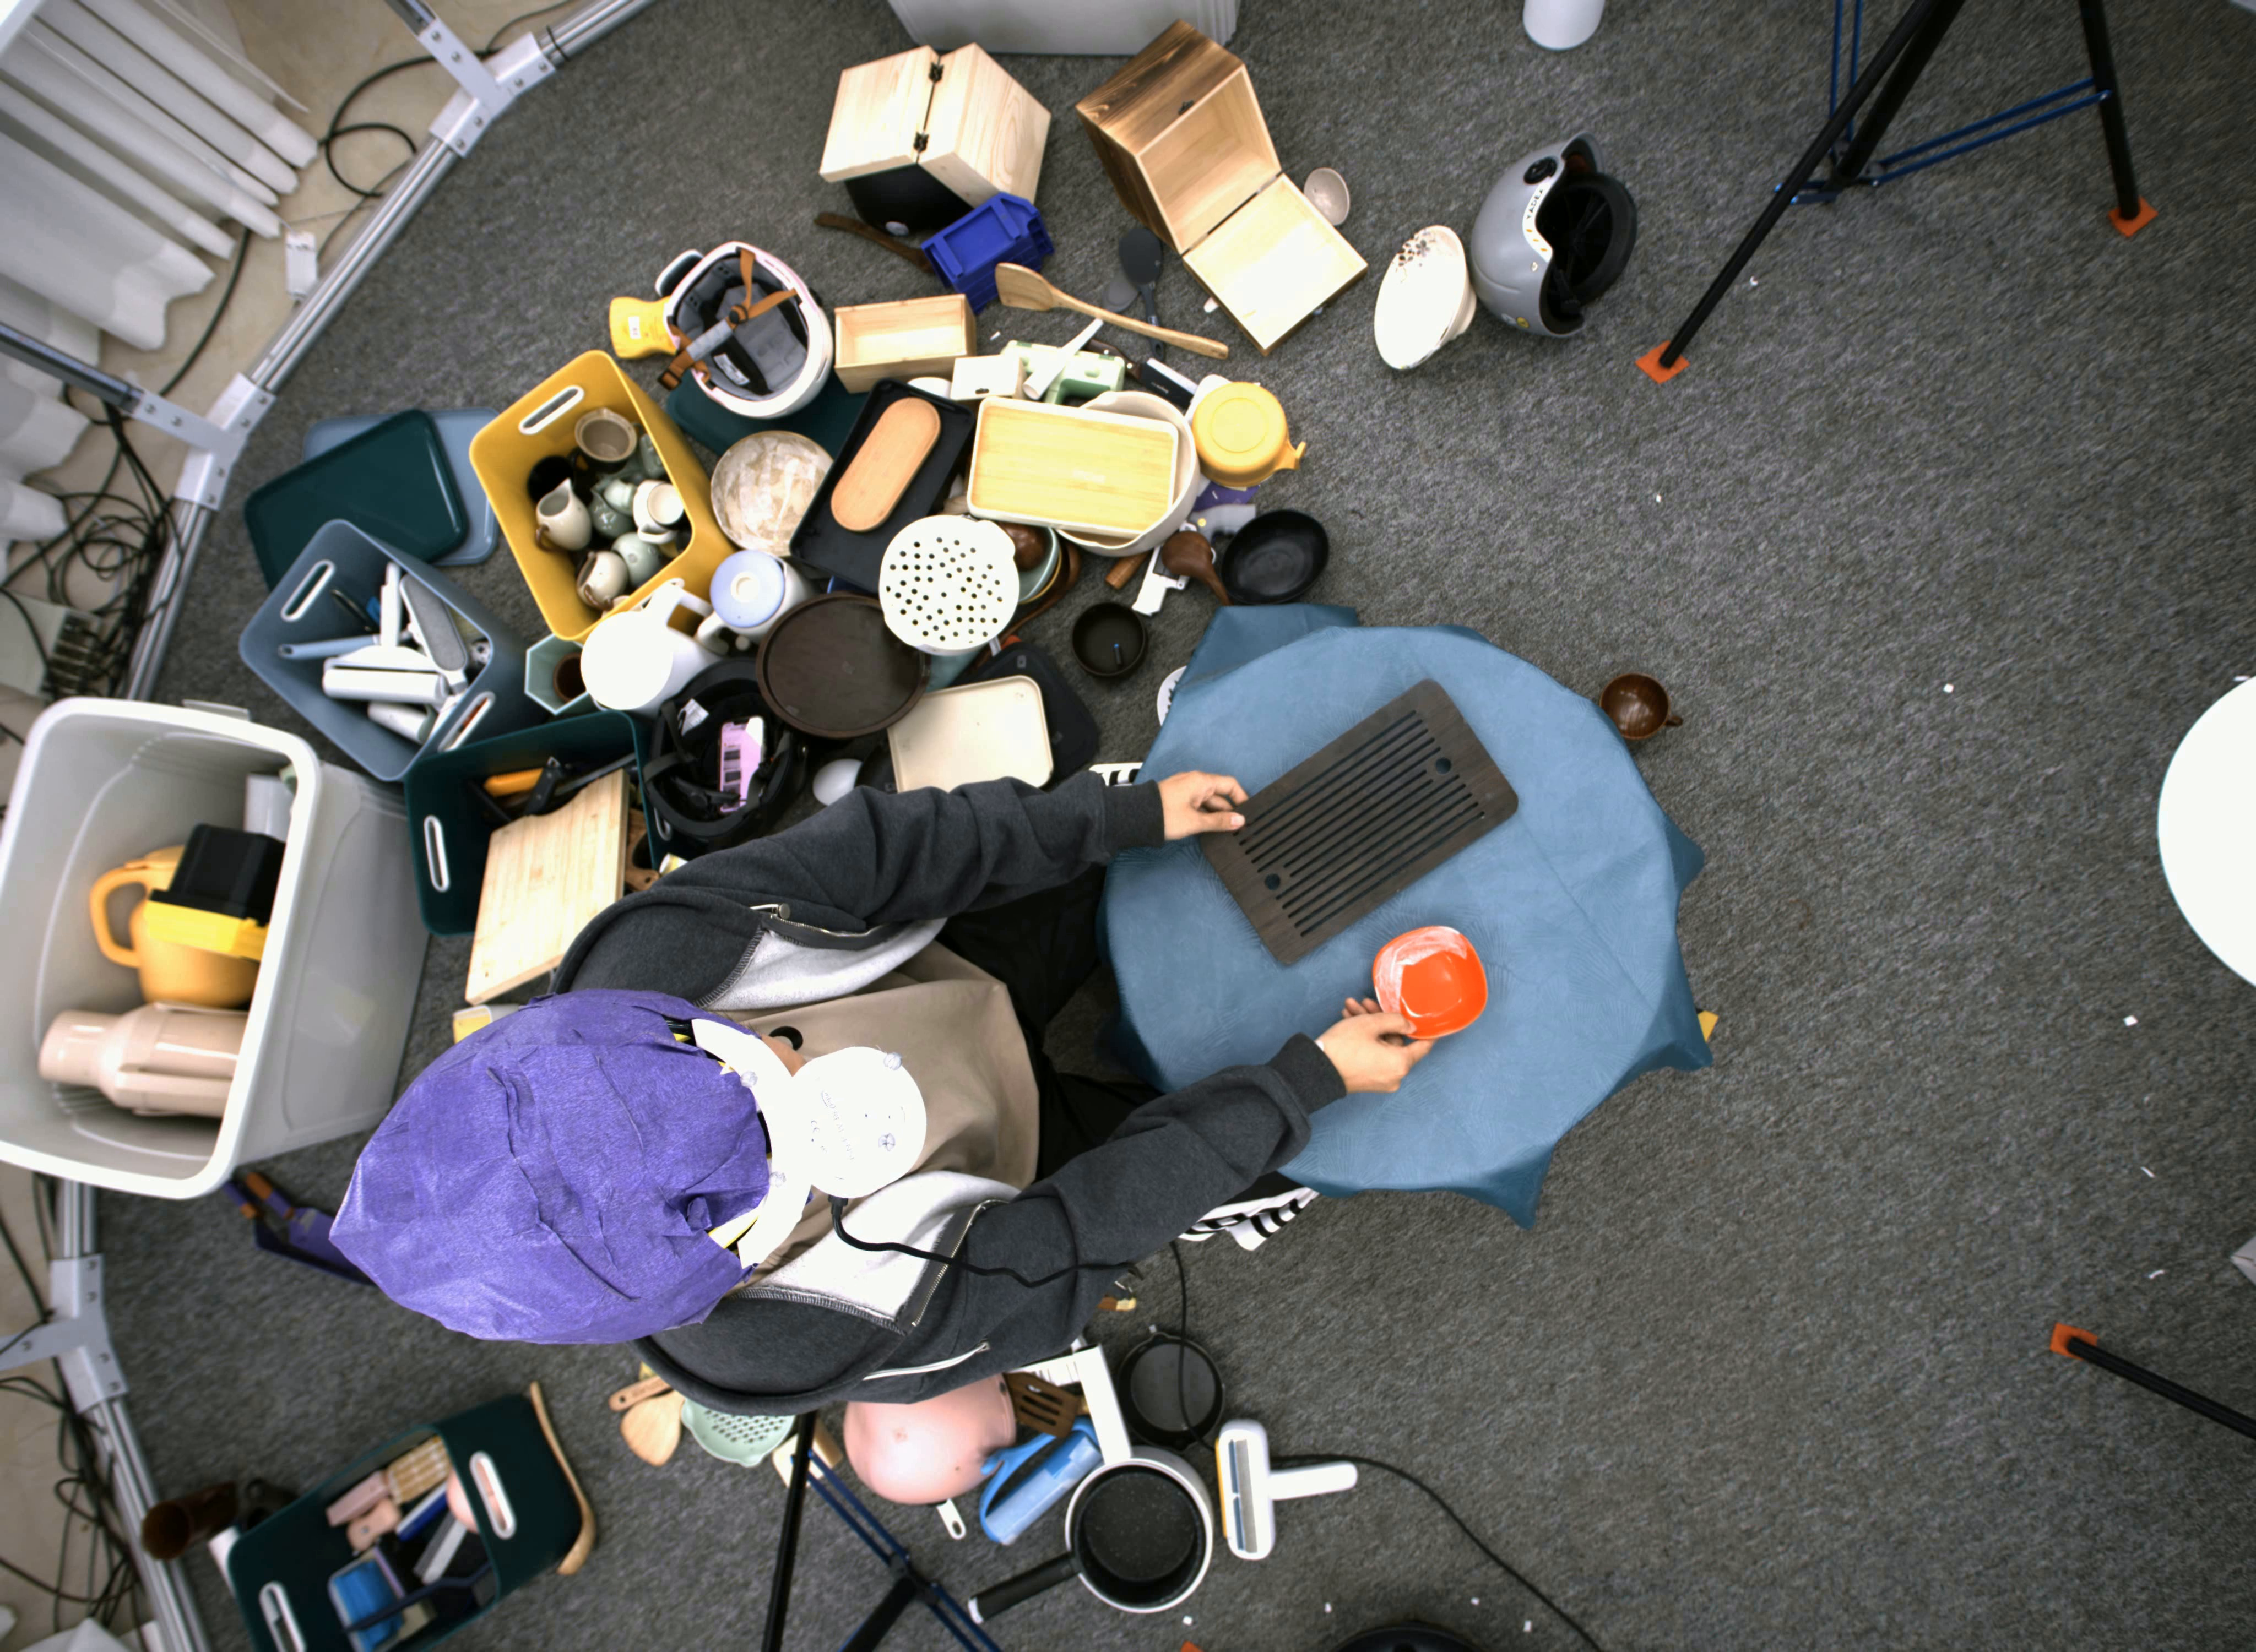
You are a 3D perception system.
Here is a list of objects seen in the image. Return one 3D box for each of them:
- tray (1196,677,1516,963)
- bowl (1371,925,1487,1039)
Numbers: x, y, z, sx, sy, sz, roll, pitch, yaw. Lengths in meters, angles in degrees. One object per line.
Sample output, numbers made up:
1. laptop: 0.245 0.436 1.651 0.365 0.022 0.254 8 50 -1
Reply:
1. tray: 0.238 -0.007 1.450 0.307 0.018 0.170 -35 89 7
2. bowl: 0.307 0.159 1.415 0.119 0.051 0.118 -1 83 8
